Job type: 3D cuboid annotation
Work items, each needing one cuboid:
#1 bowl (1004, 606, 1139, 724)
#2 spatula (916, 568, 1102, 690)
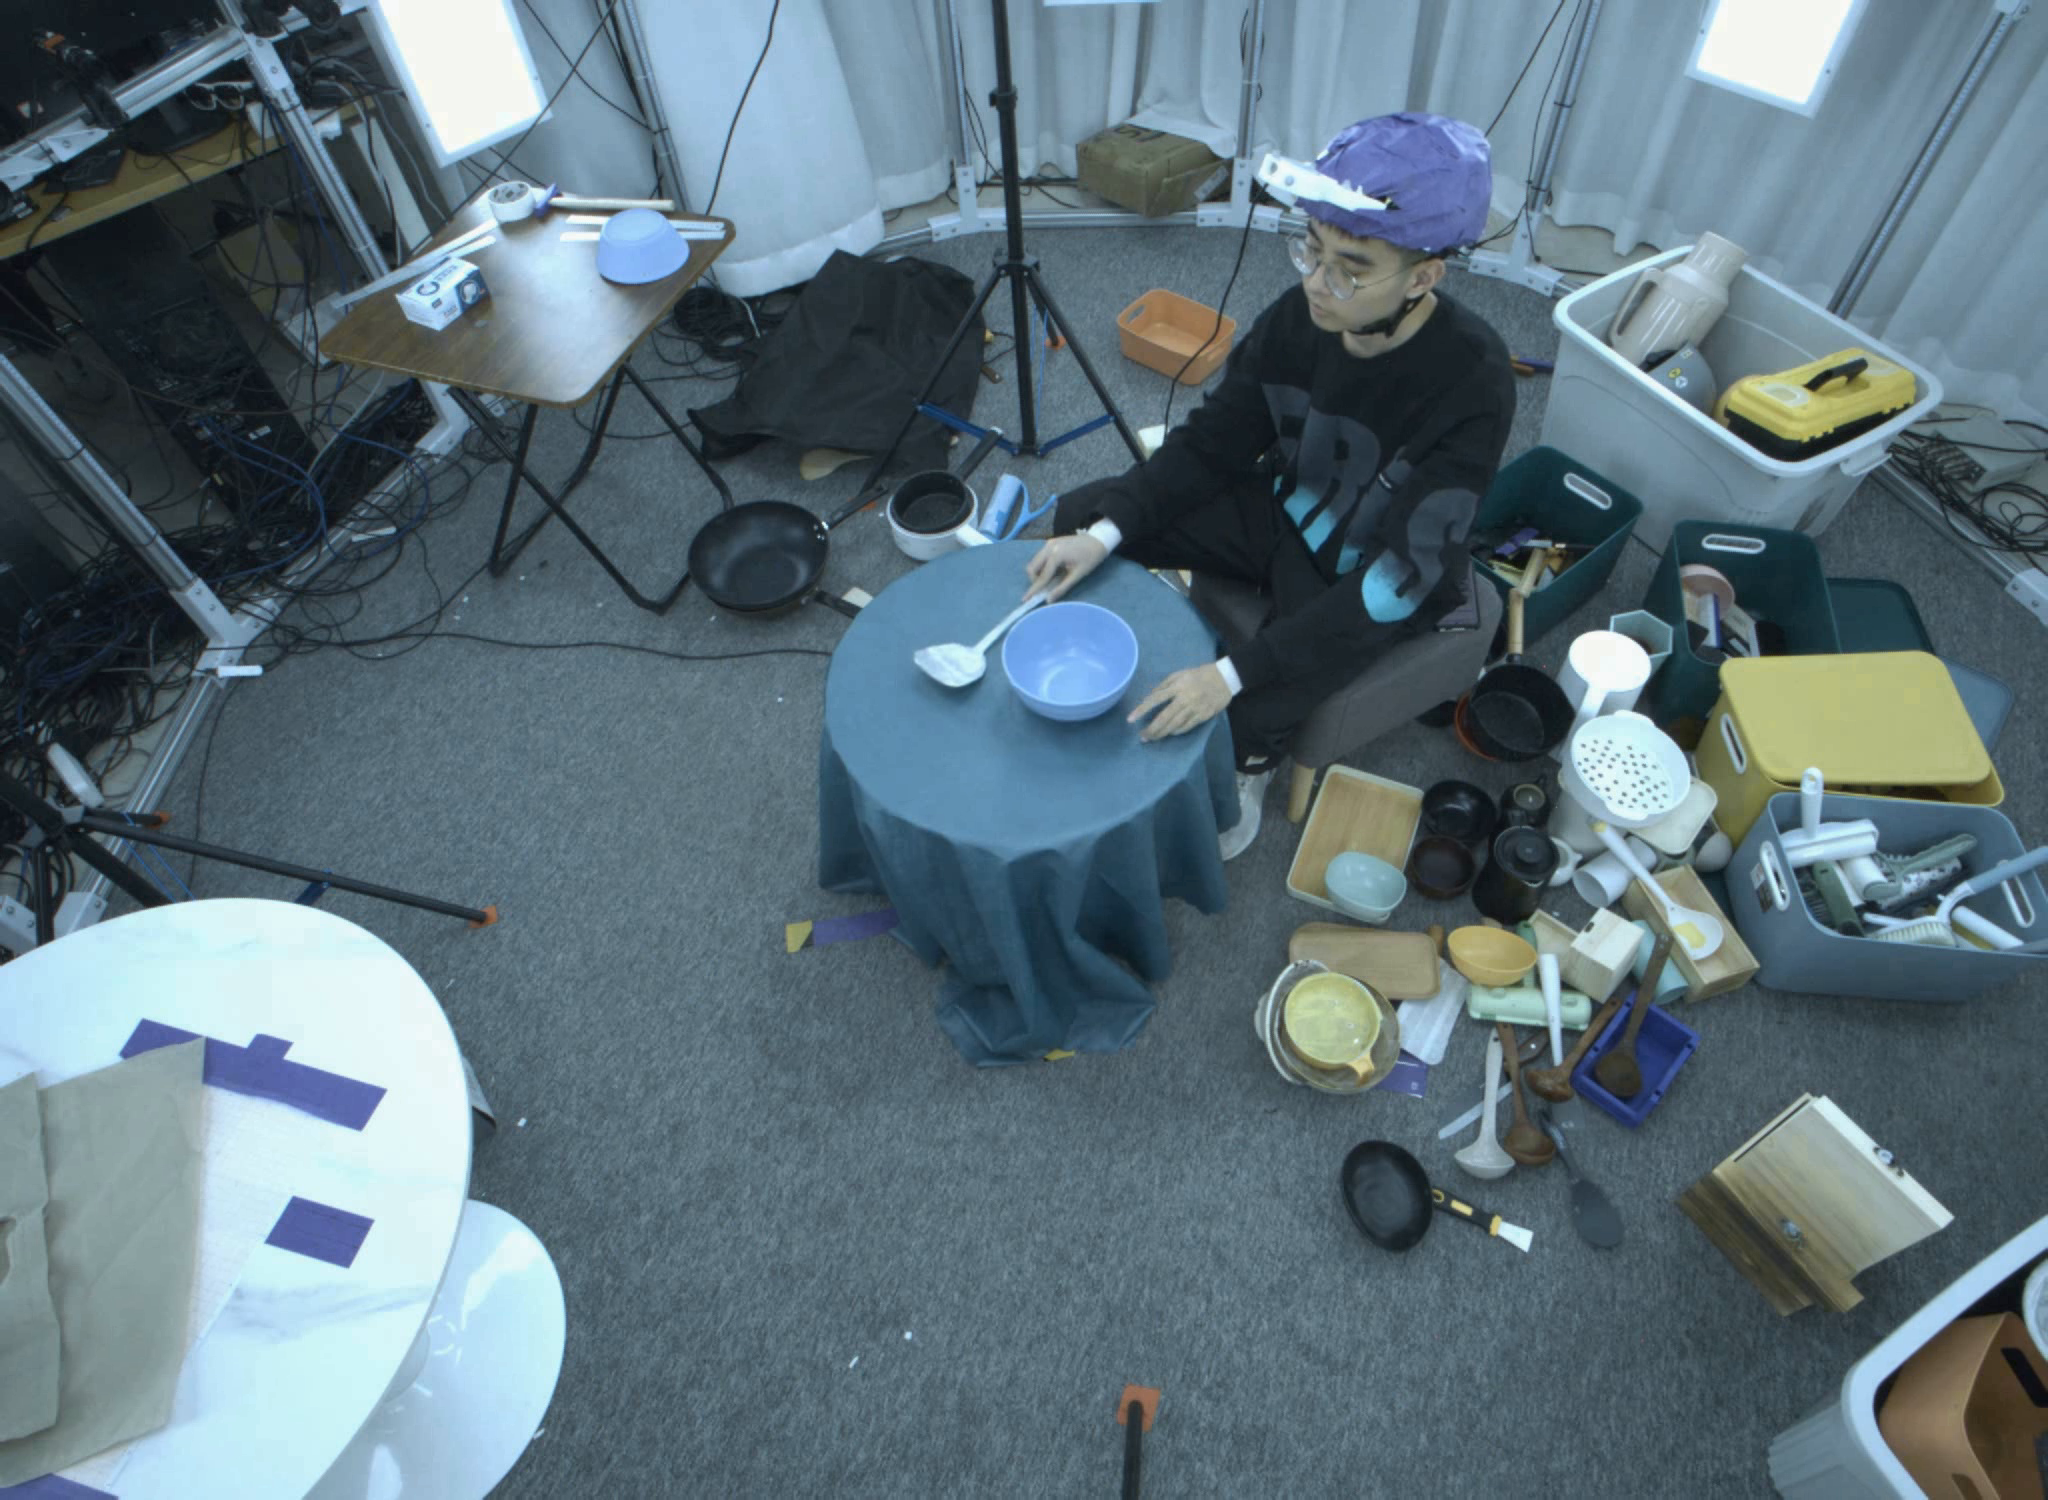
[{"bbox_3d":[0.071,-0.110,1.815,0.196,0.096,0.194,-1,54,3],"label":"bowl"},{"bbox_3d":[-0.011,-0.204,1.918,0.097,0.045,0.367,38,64,25],"label":"spatula"}]
